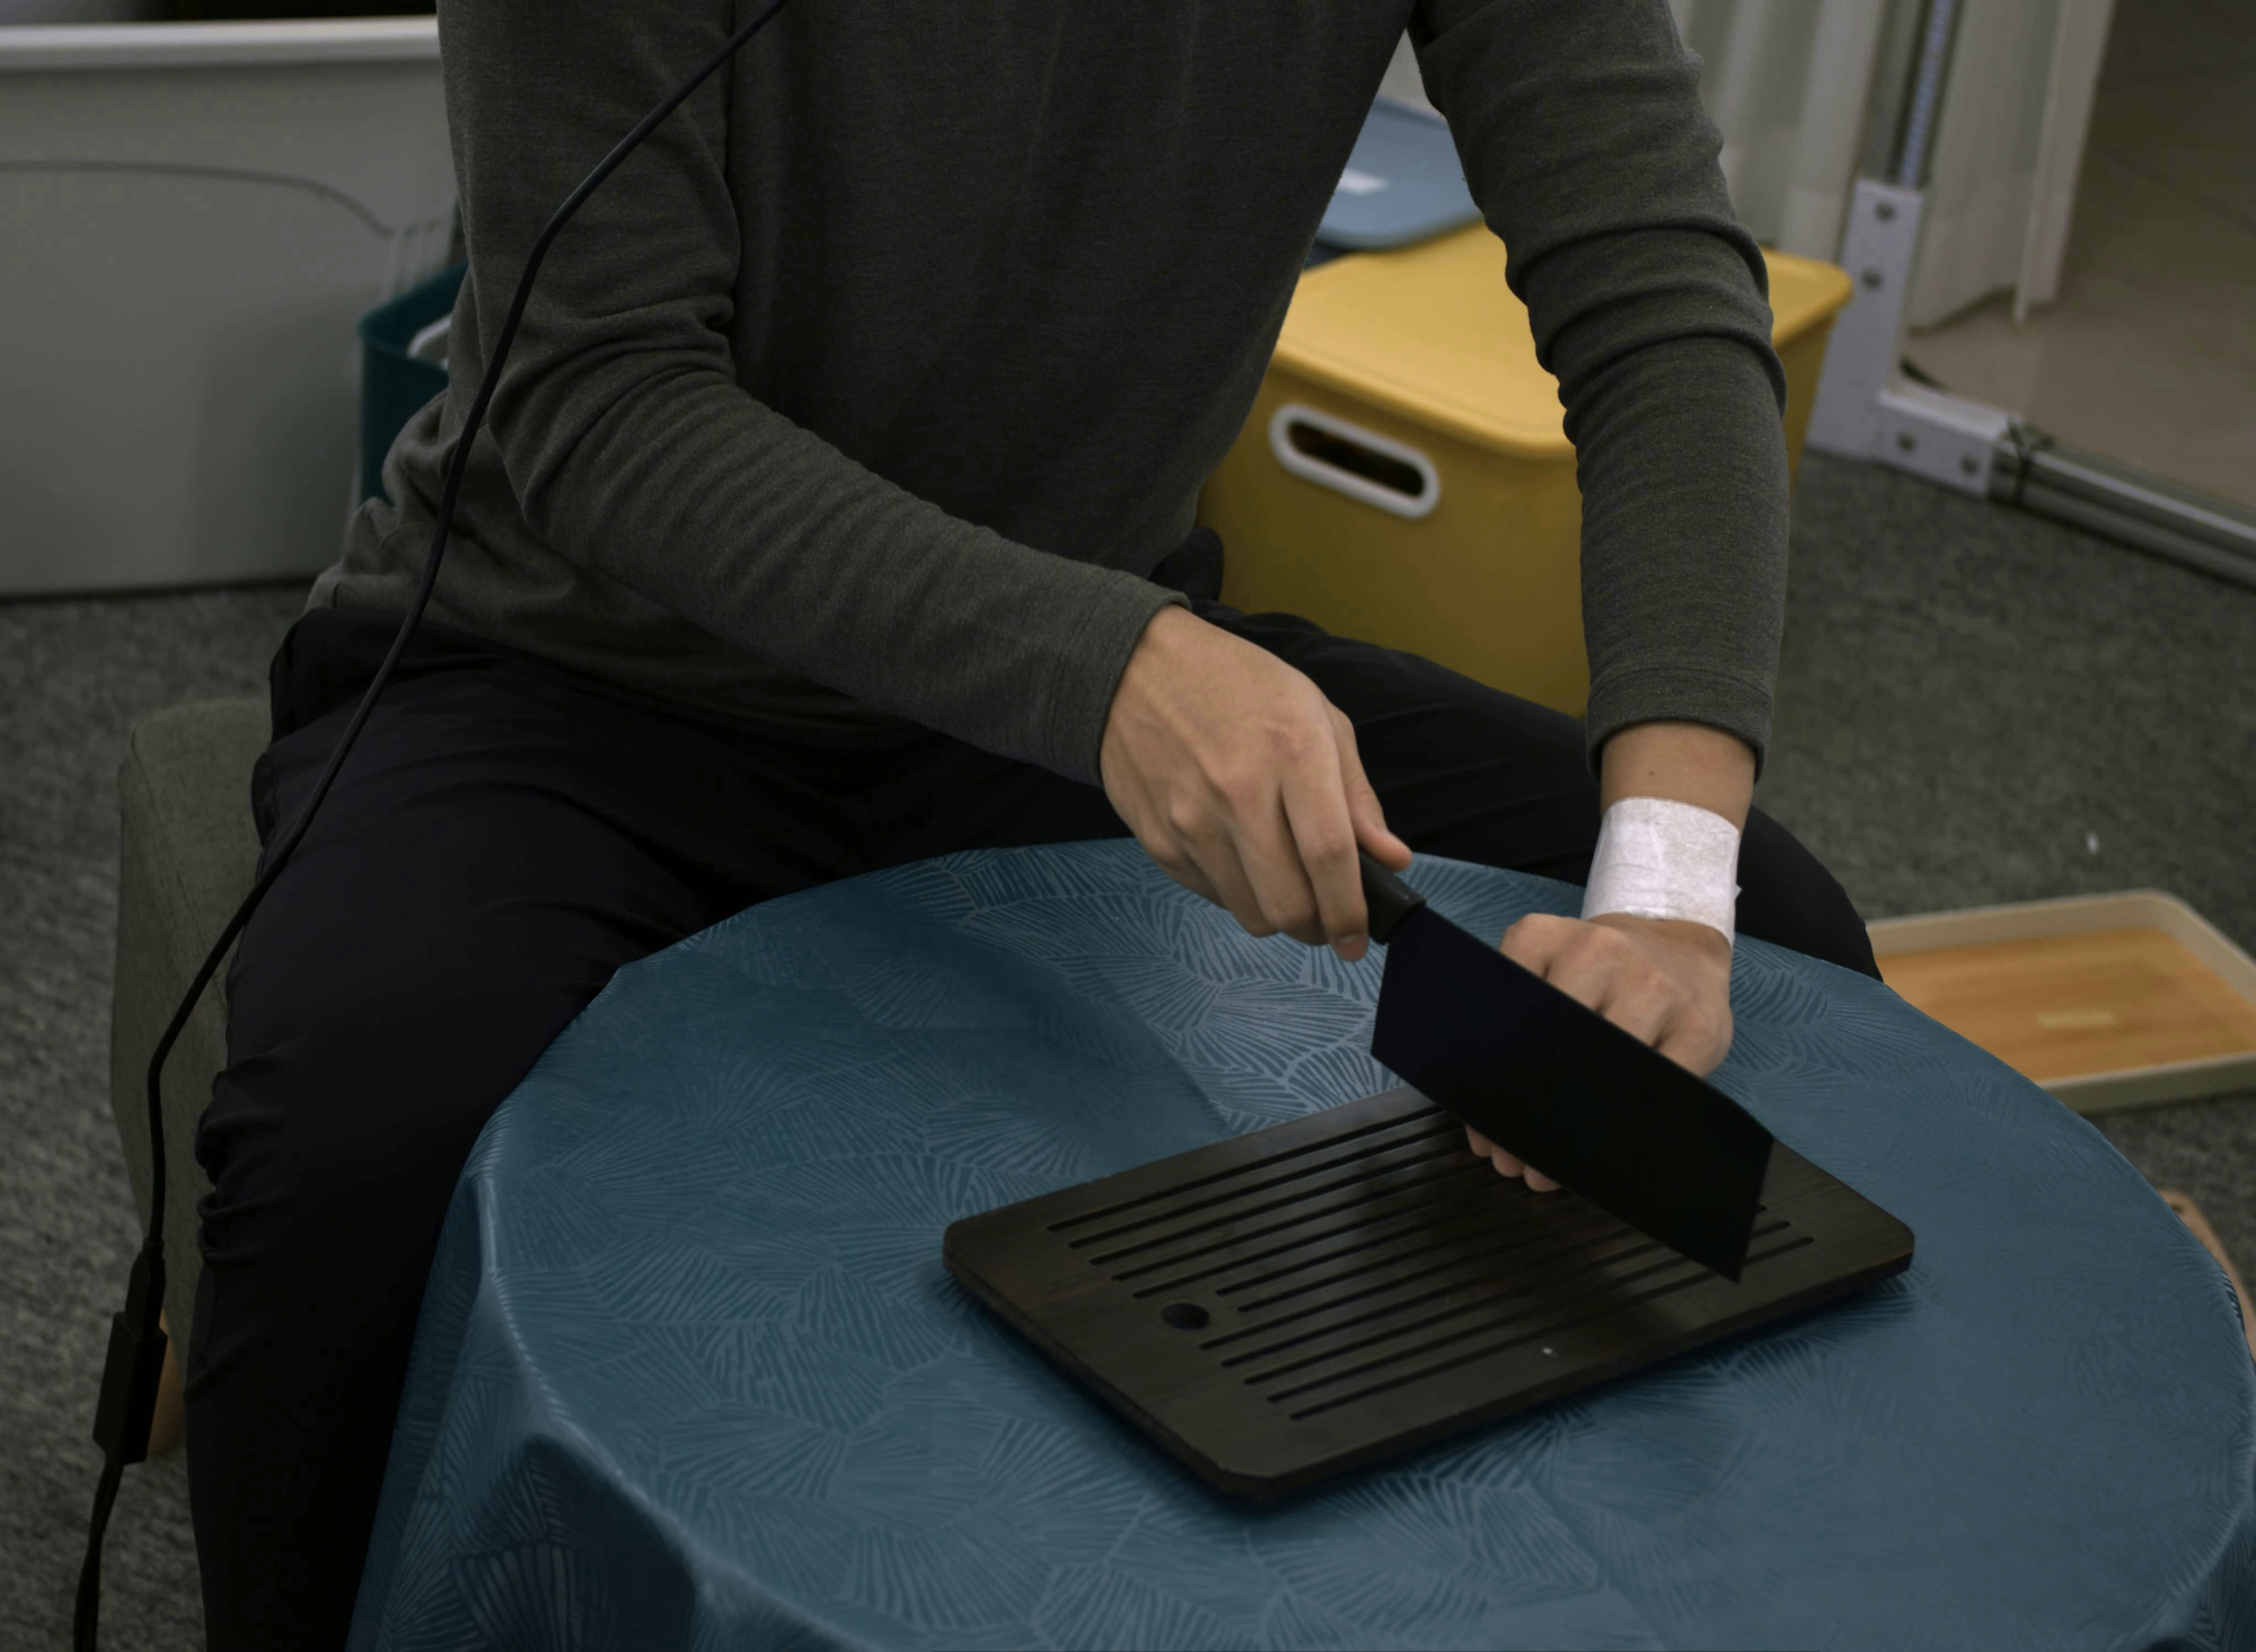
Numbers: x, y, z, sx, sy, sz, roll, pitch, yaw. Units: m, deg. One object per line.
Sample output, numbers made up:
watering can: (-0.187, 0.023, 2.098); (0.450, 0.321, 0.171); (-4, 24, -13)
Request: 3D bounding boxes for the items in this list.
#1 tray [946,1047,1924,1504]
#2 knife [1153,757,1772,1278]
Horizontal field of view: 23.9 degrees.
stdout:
tray: (0.104, 0.144, 1.768); (0.304, 0.018, 0.171); (-14, 32, -35)
knife: (0.108, 0.058, 1.808); (0.021, 0.081, 0.305); (-11, 36, -39)
